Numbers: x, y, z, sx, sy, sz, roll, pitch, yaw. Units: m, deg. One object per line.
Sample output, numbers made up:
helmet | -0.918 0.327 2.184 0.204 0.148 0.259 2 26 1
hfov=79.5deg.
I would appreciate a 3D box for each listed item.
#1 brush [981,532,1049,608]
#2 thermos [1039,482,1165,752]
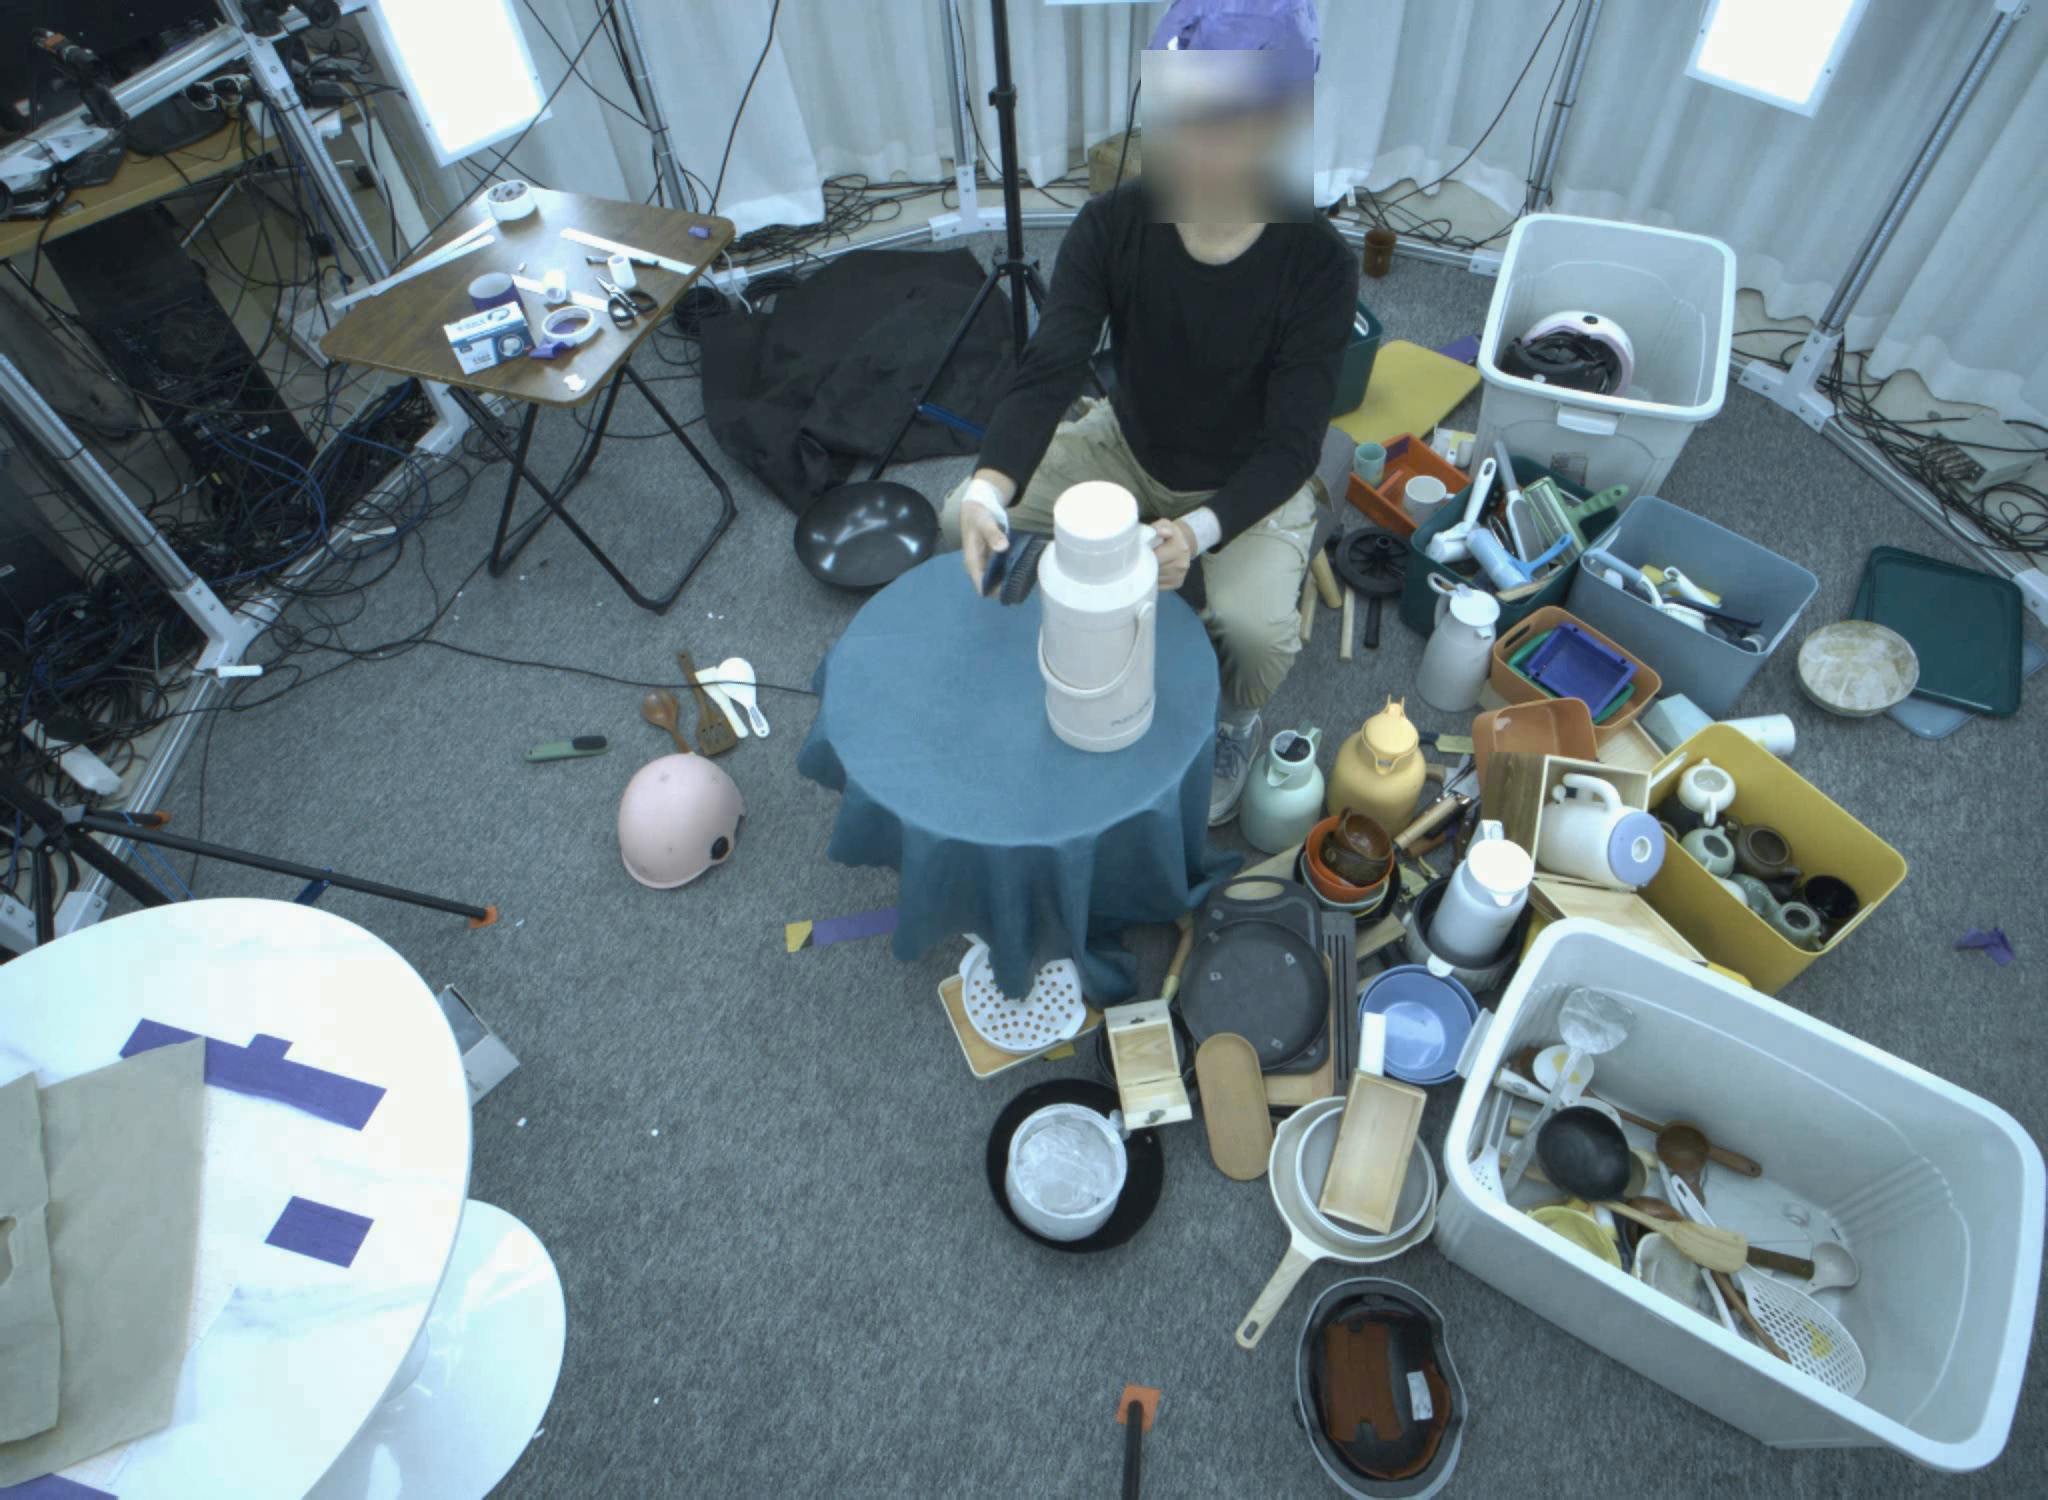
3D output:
brush | -0.010 -0.237 1.621 0.060 0.068 0.121 18 54 12
thermos | 0.114 -0.184 1.669 0.172 0.411 0.208 36 65 27
